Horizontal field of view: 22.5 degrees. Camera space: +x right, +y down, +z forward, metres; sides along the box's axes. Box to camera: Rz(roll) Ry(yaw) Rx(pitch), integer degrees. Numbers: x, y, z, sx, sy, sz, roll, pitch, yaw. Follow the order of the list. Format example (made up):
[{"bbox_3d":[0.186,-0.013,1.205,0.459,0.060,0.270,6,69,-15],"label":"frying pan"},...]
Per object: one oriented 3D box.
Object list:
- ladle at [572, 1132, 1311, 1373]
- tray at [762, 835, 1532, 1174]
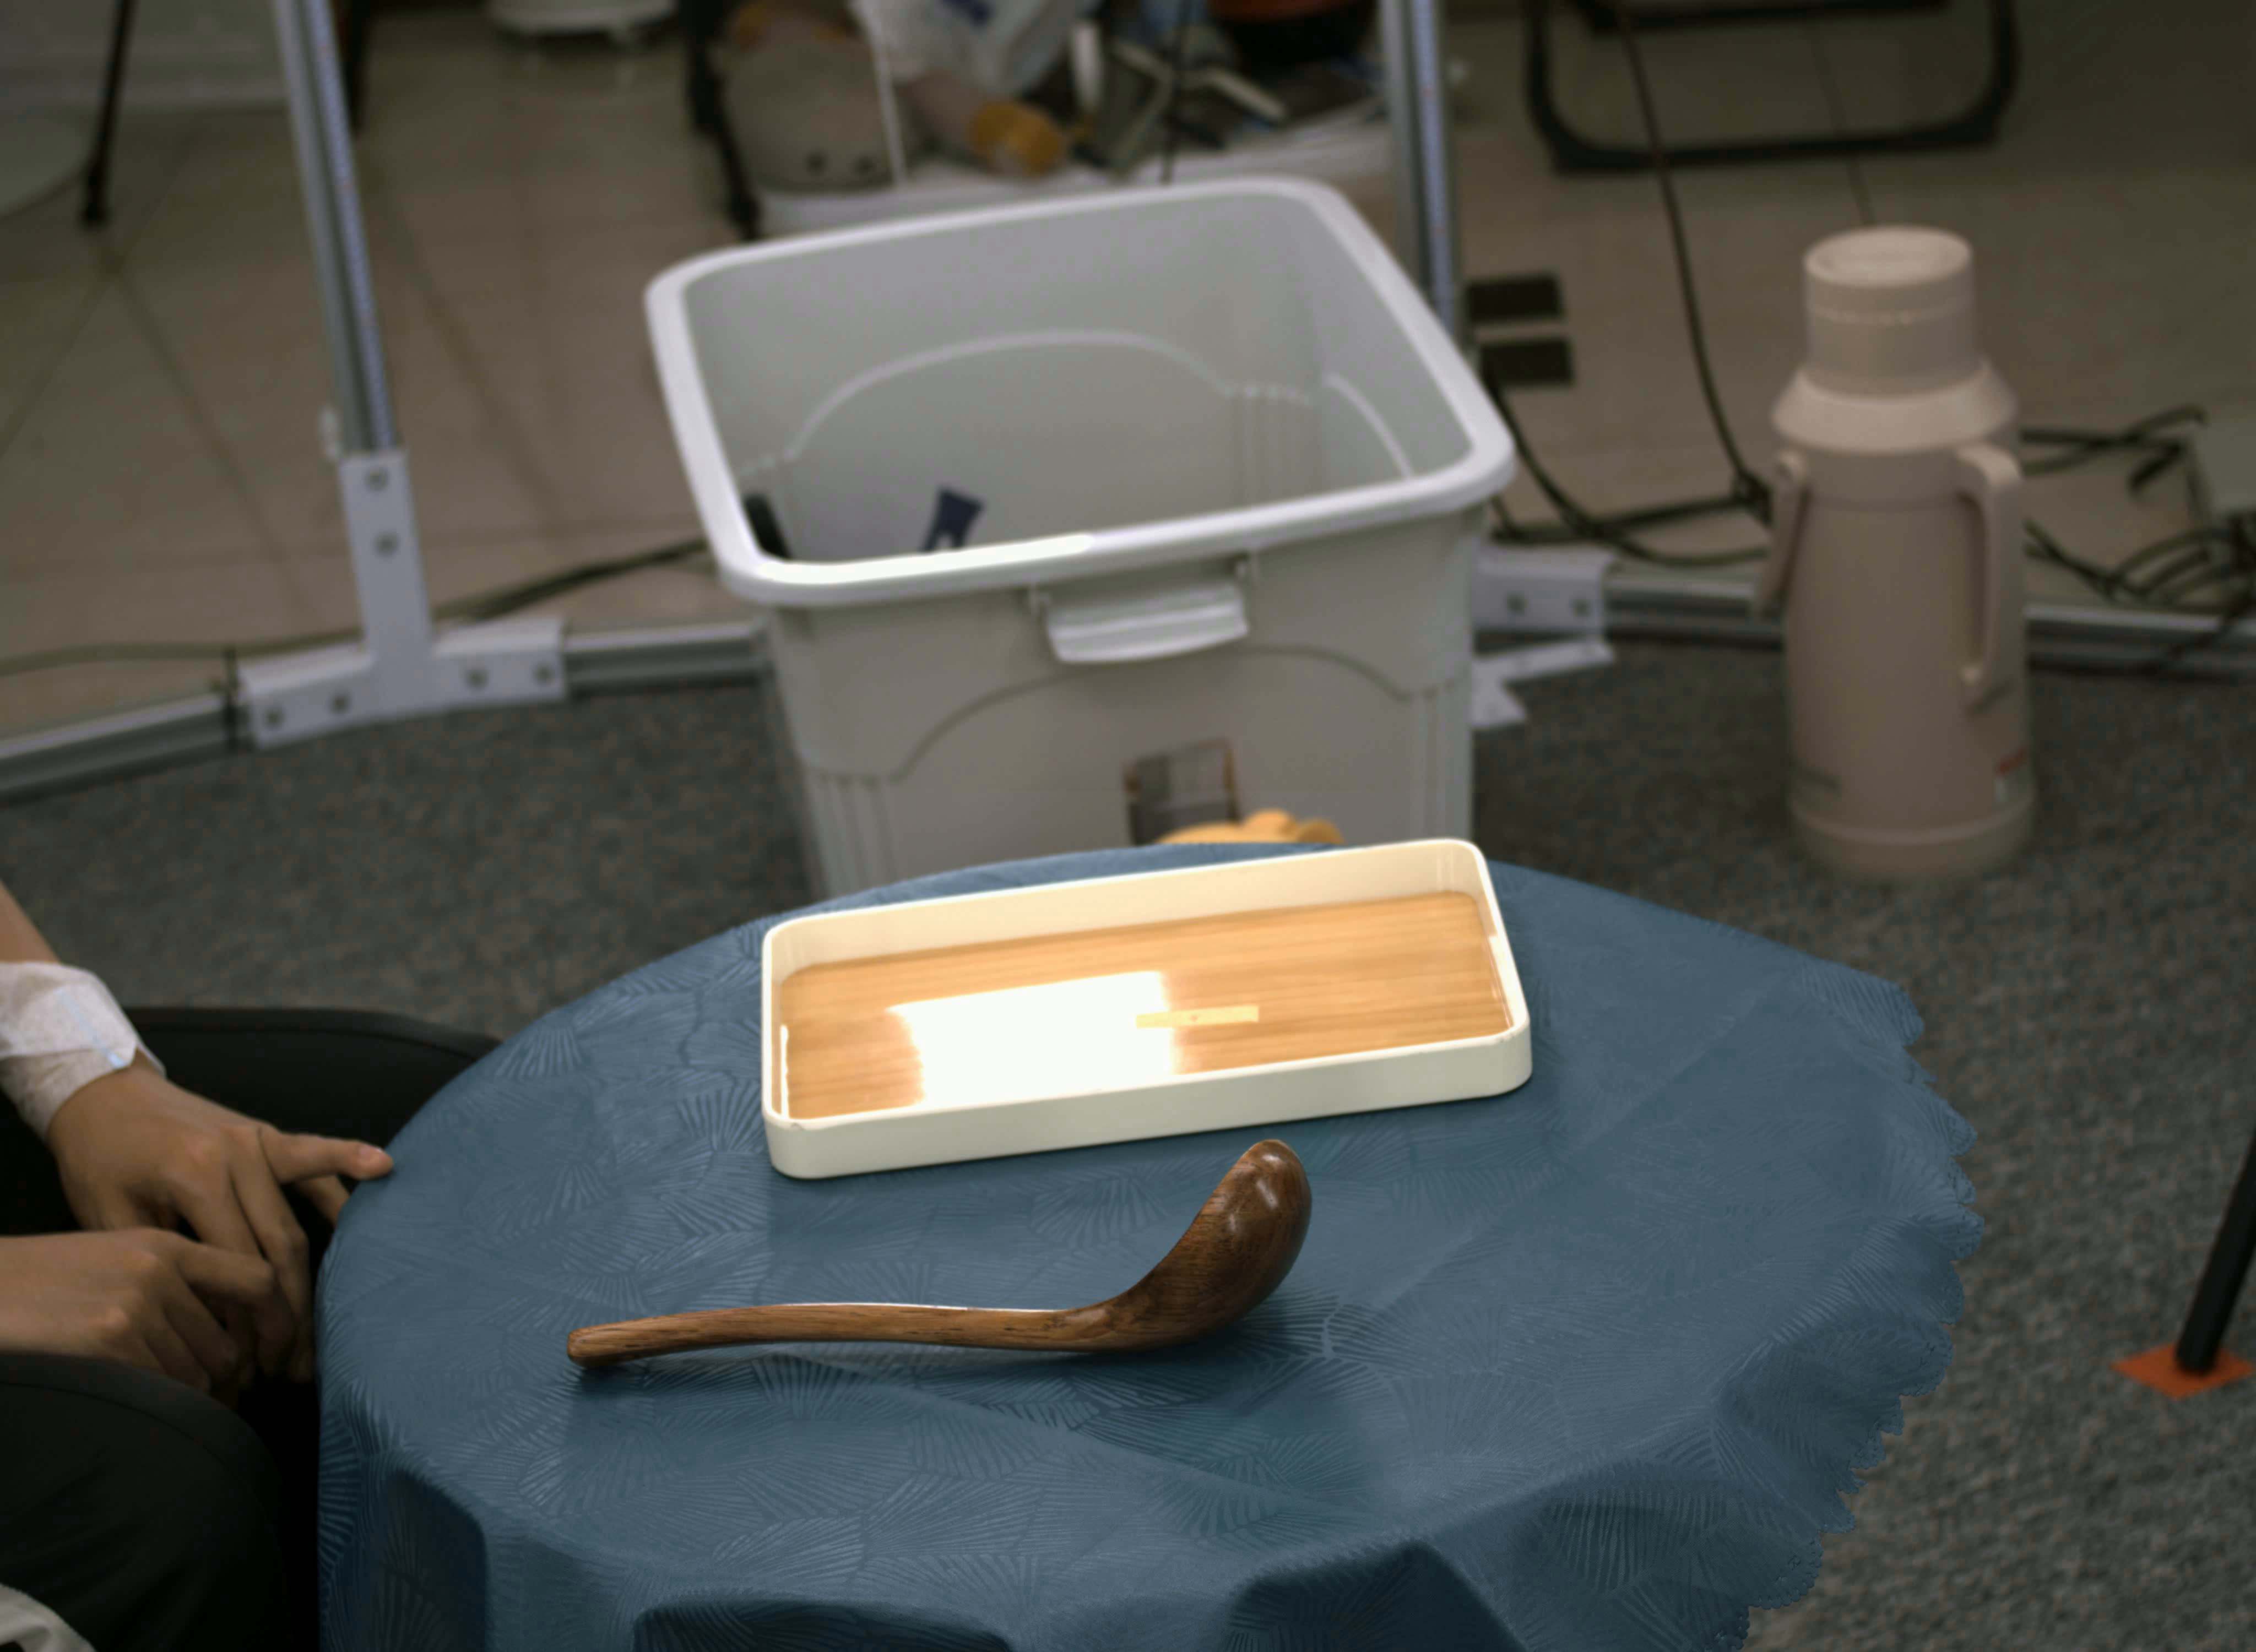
[{"bbox_3d":[-0.069,0.154,2.053,0.273,0.076,0.082,-3,-16,11],"label":"ladle"},{"bbox_3d":[0.004,0.070,2.266,0.300,0.028,0.189,-7,25,0],"label":"tray"}]
